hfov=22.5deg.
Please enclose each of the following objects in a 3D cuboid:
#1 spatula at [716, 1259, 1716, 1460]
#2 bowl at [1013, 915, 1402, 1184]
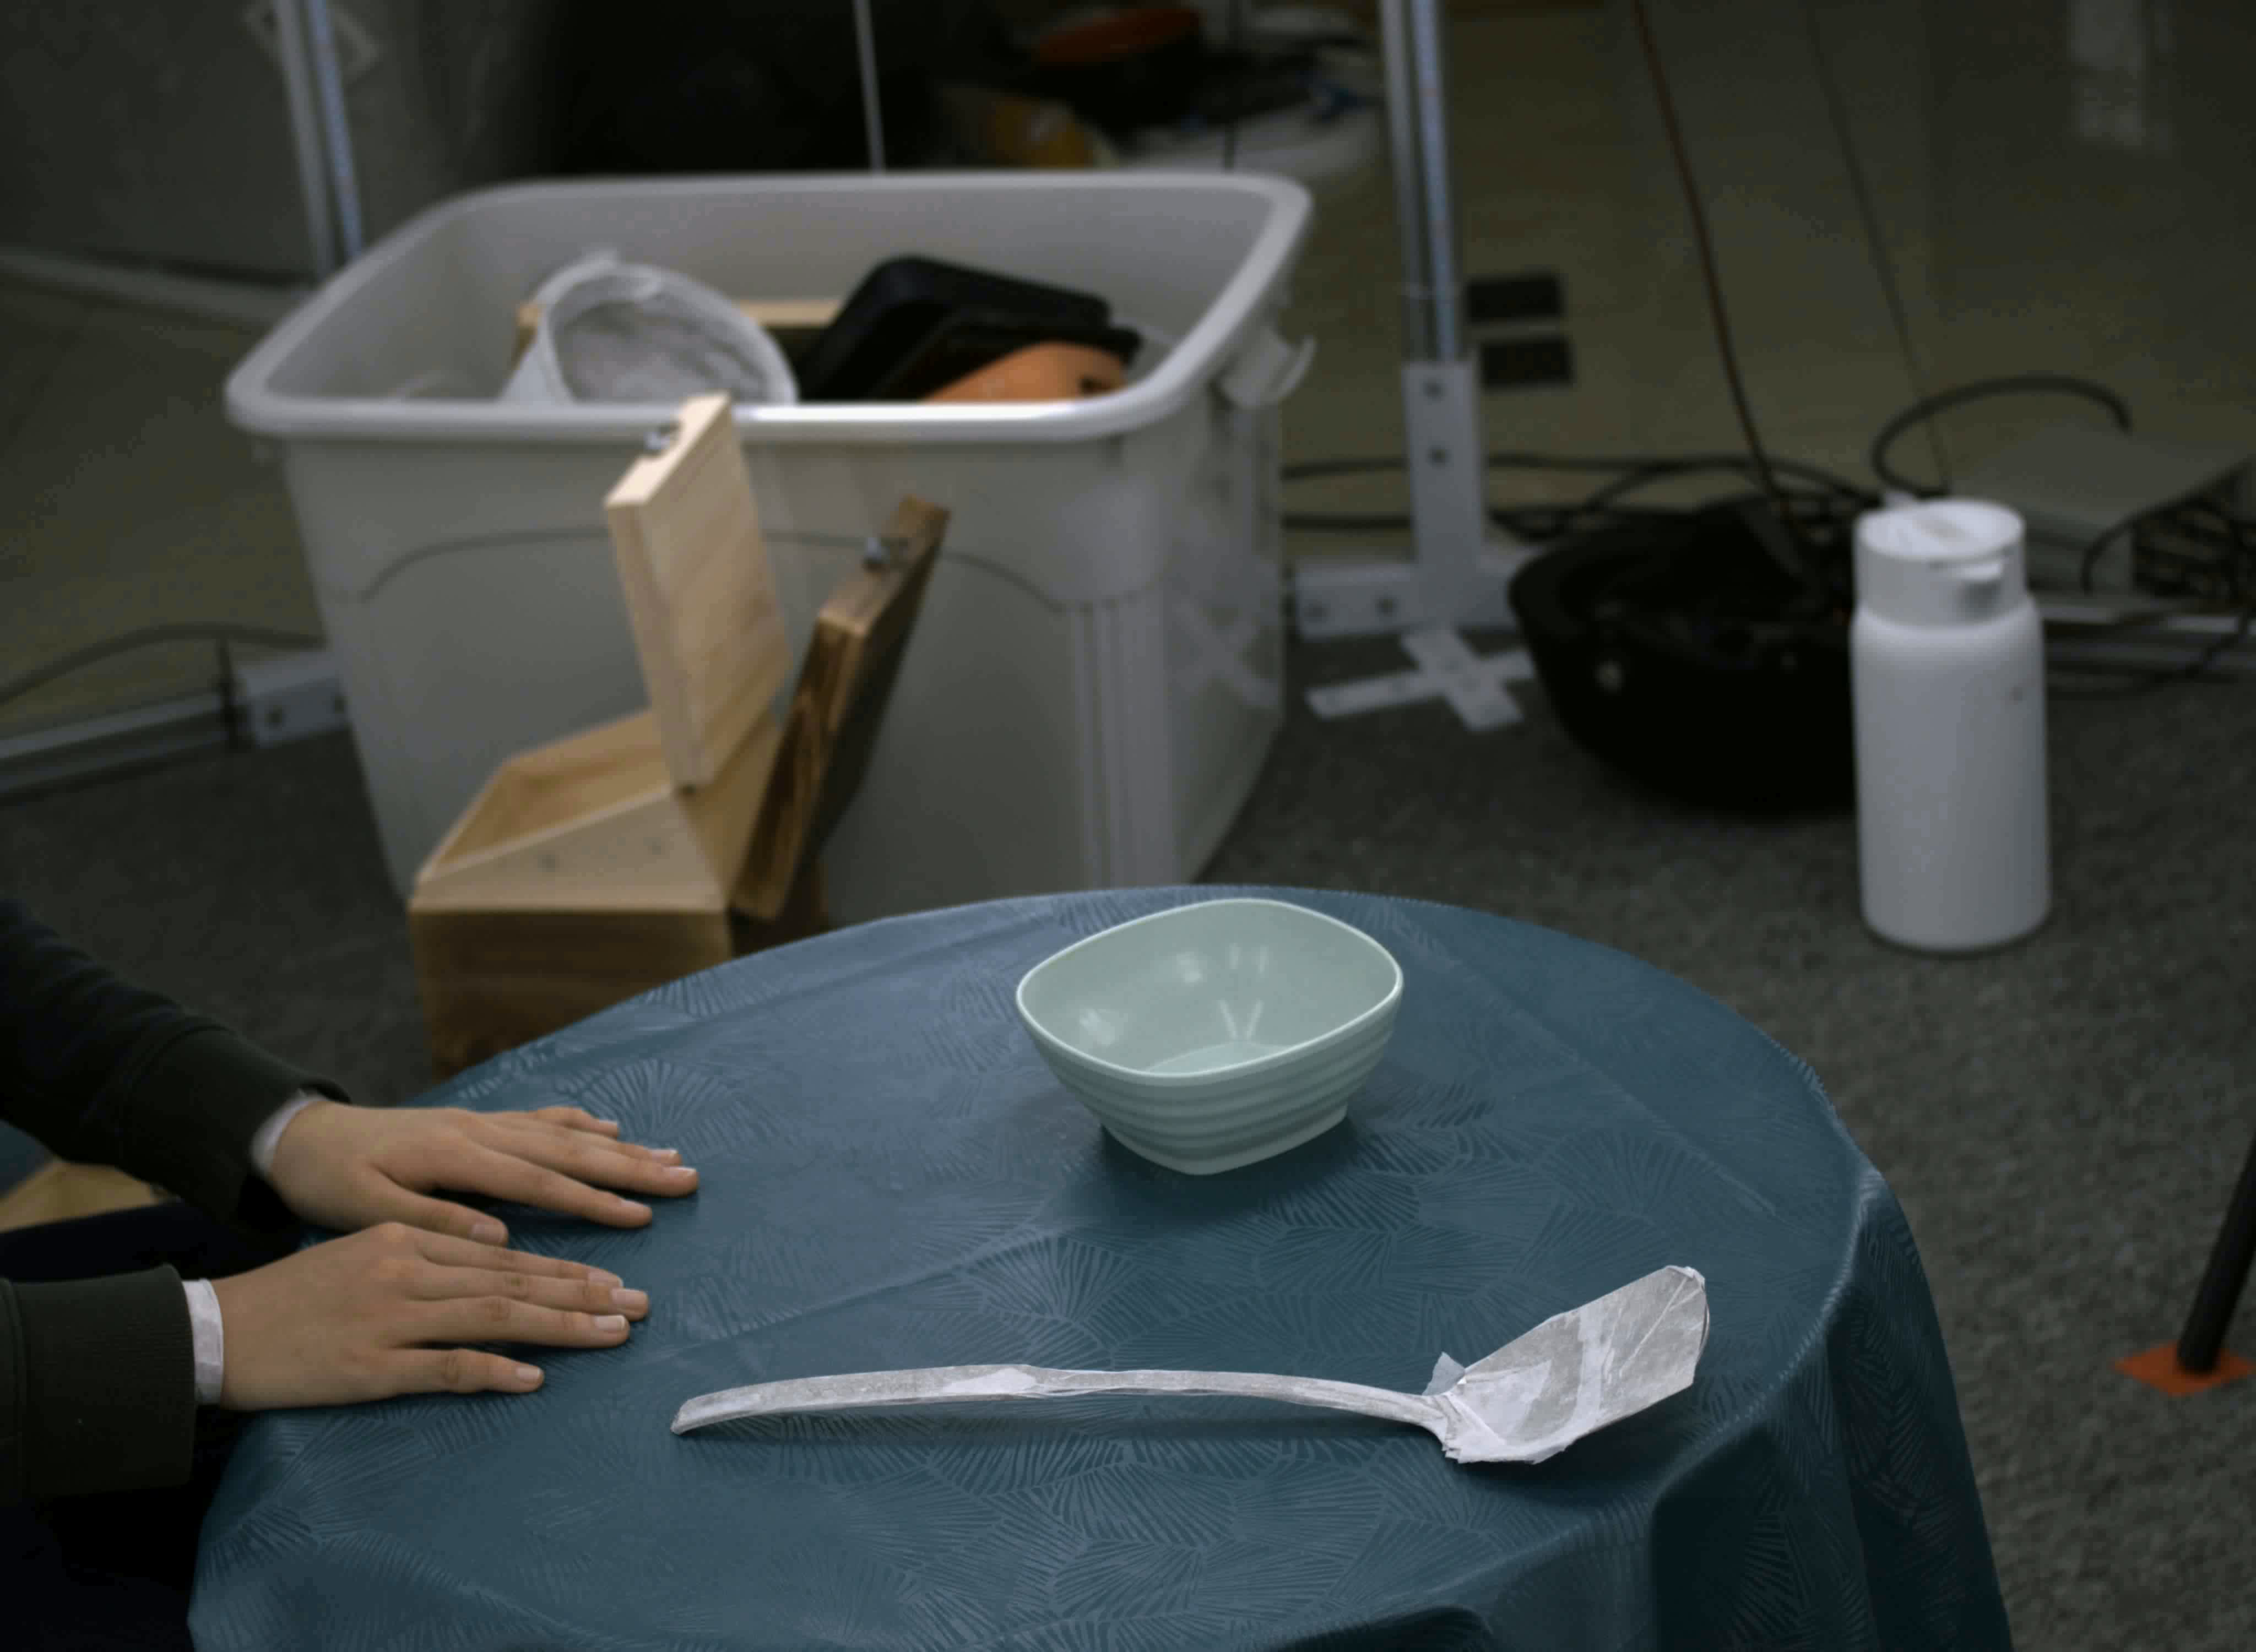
[{"bbox_3d":[0.024,0.191,1.990,0.364,0.045,0.097,-1,28,12],"label":"spatula"},{"bbox_3d":[0.032,0.091,2.187,0.151,0.059,0.149,-4,24,2],"label":"bowl"}]
